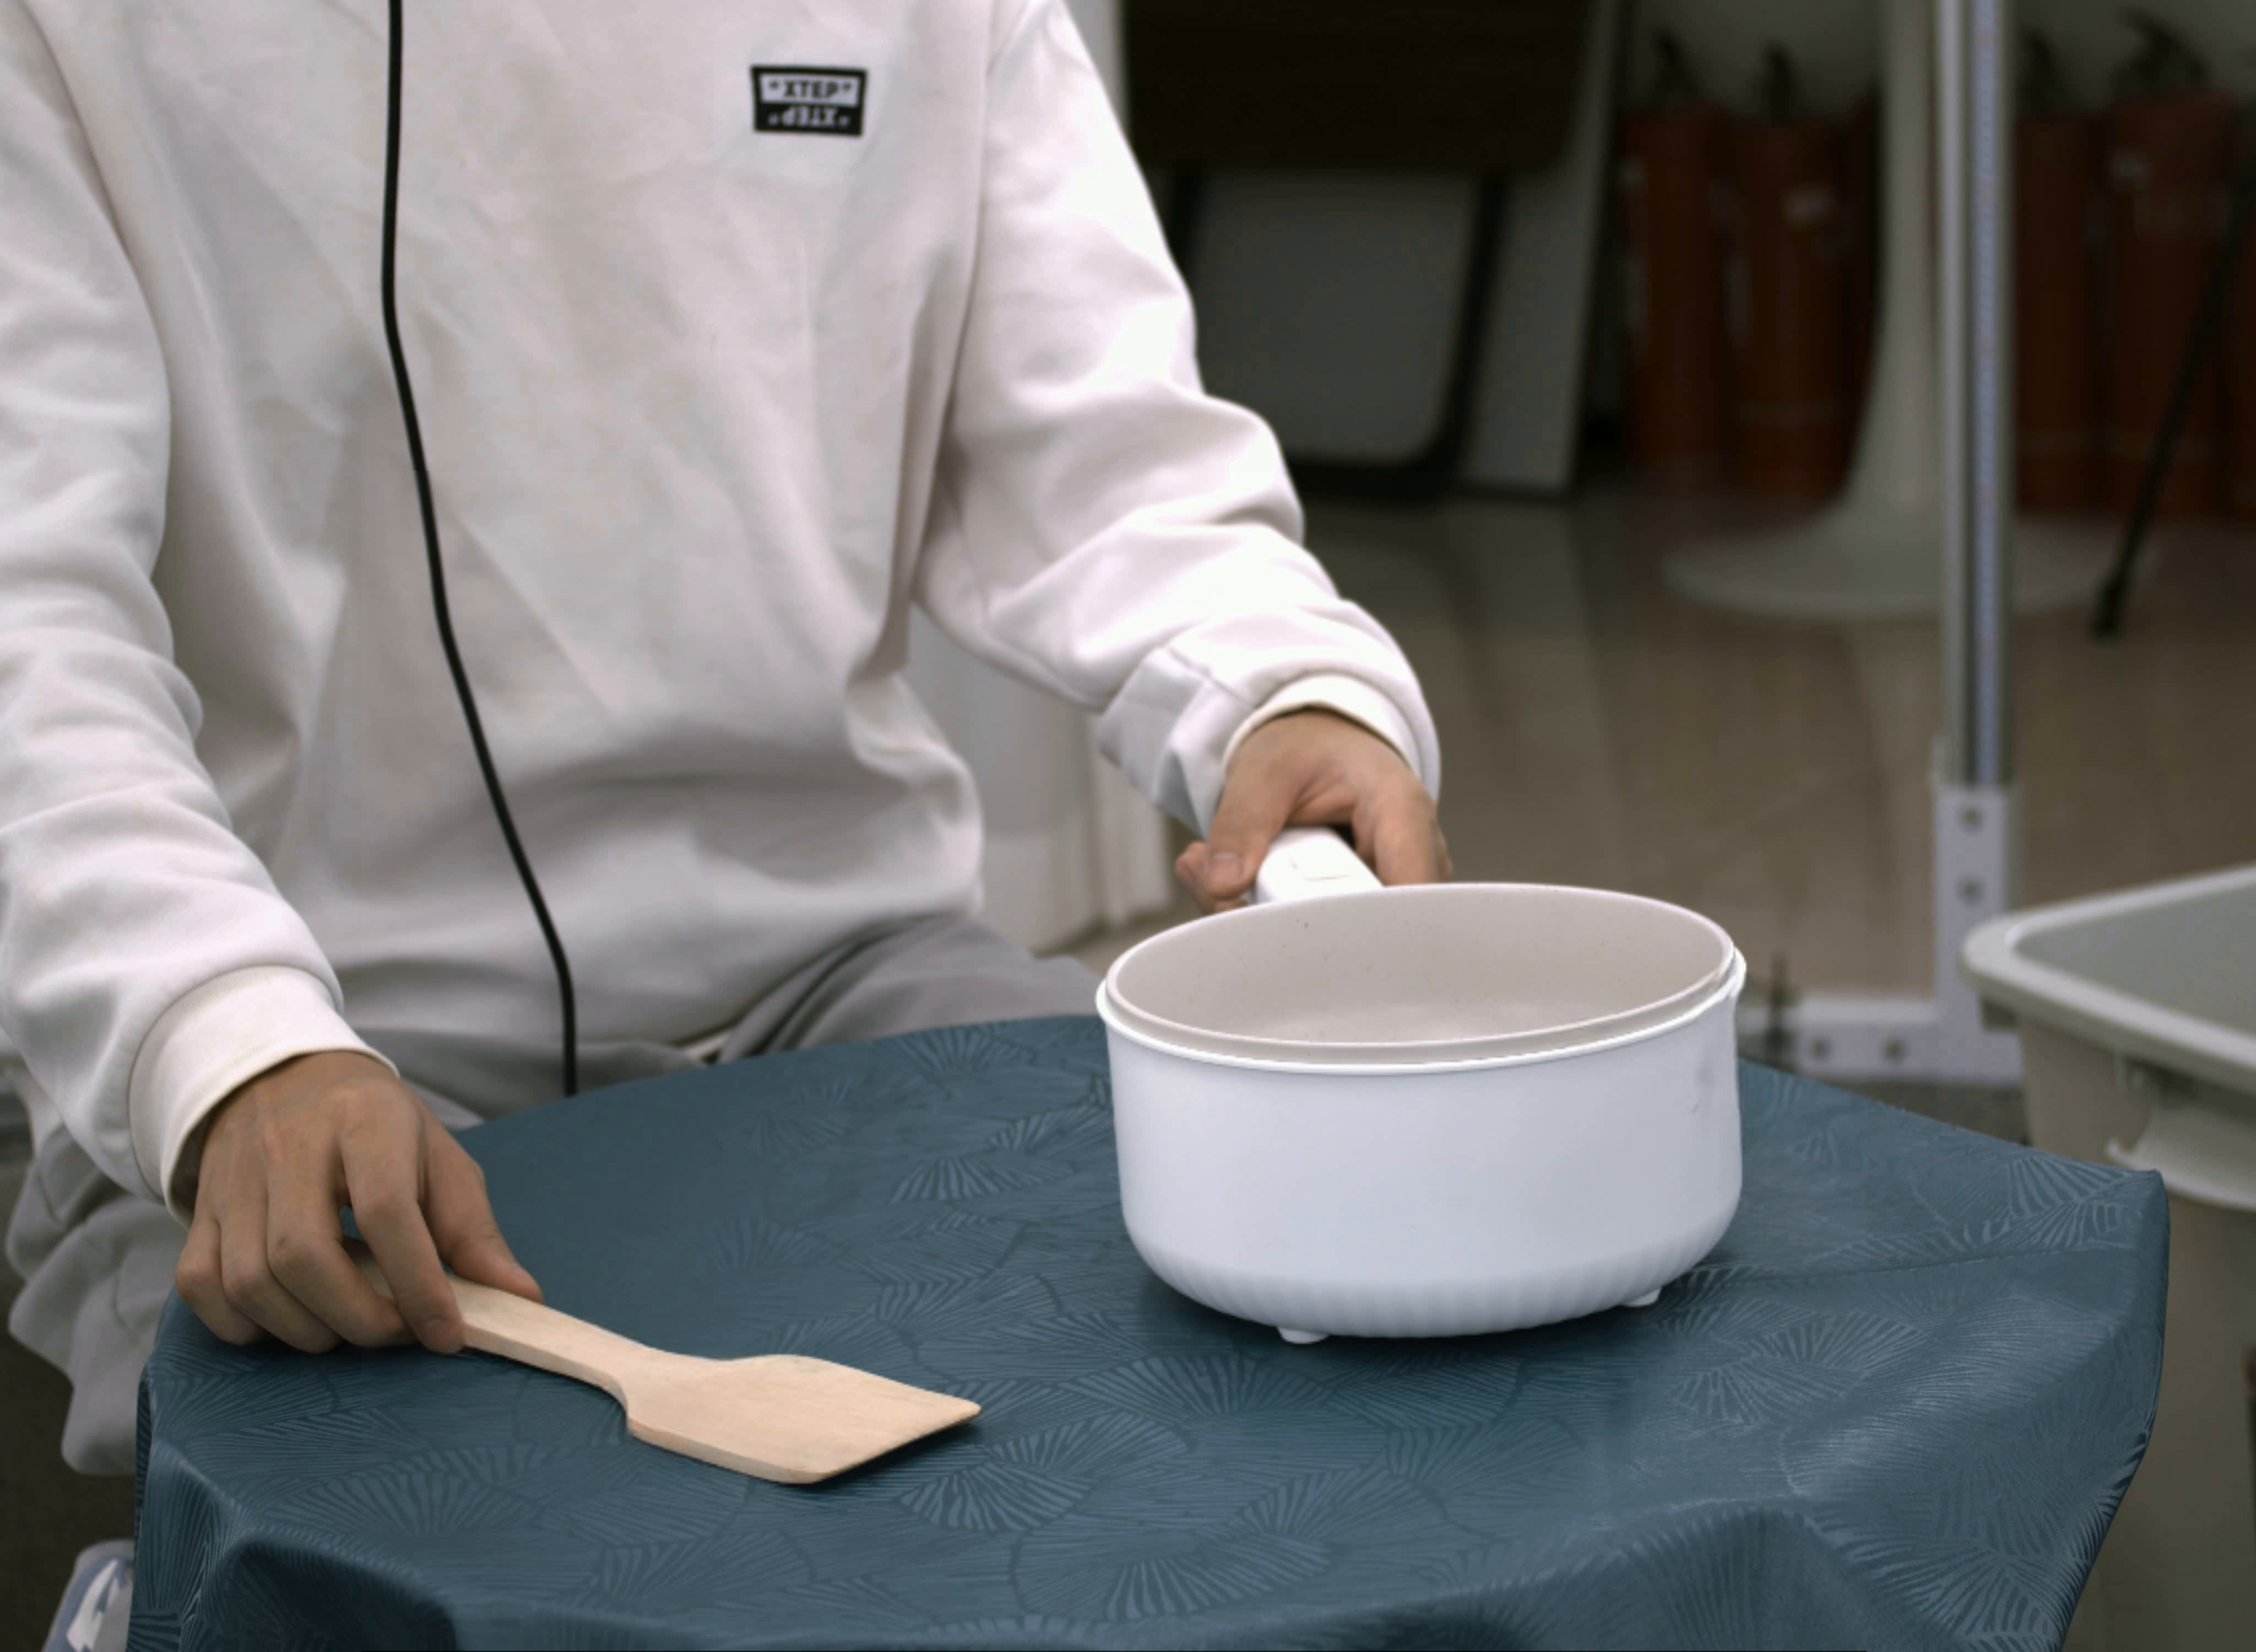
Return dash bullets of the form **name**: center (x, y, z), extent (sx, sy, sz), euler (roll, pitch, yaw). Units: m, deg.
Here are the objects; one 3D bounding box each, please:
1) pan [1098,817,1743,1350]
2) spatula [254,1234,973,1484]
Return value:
- **pan**: center (0.081, 0.077, 1.736), extent (0.198, 0.103, 0.356), euler (-7, 11, -8)
- **spatula**: center (-0.170, 0.159, 1.642), extent (0.296, 0.011, 0.071), euler (11, 21, 44)
